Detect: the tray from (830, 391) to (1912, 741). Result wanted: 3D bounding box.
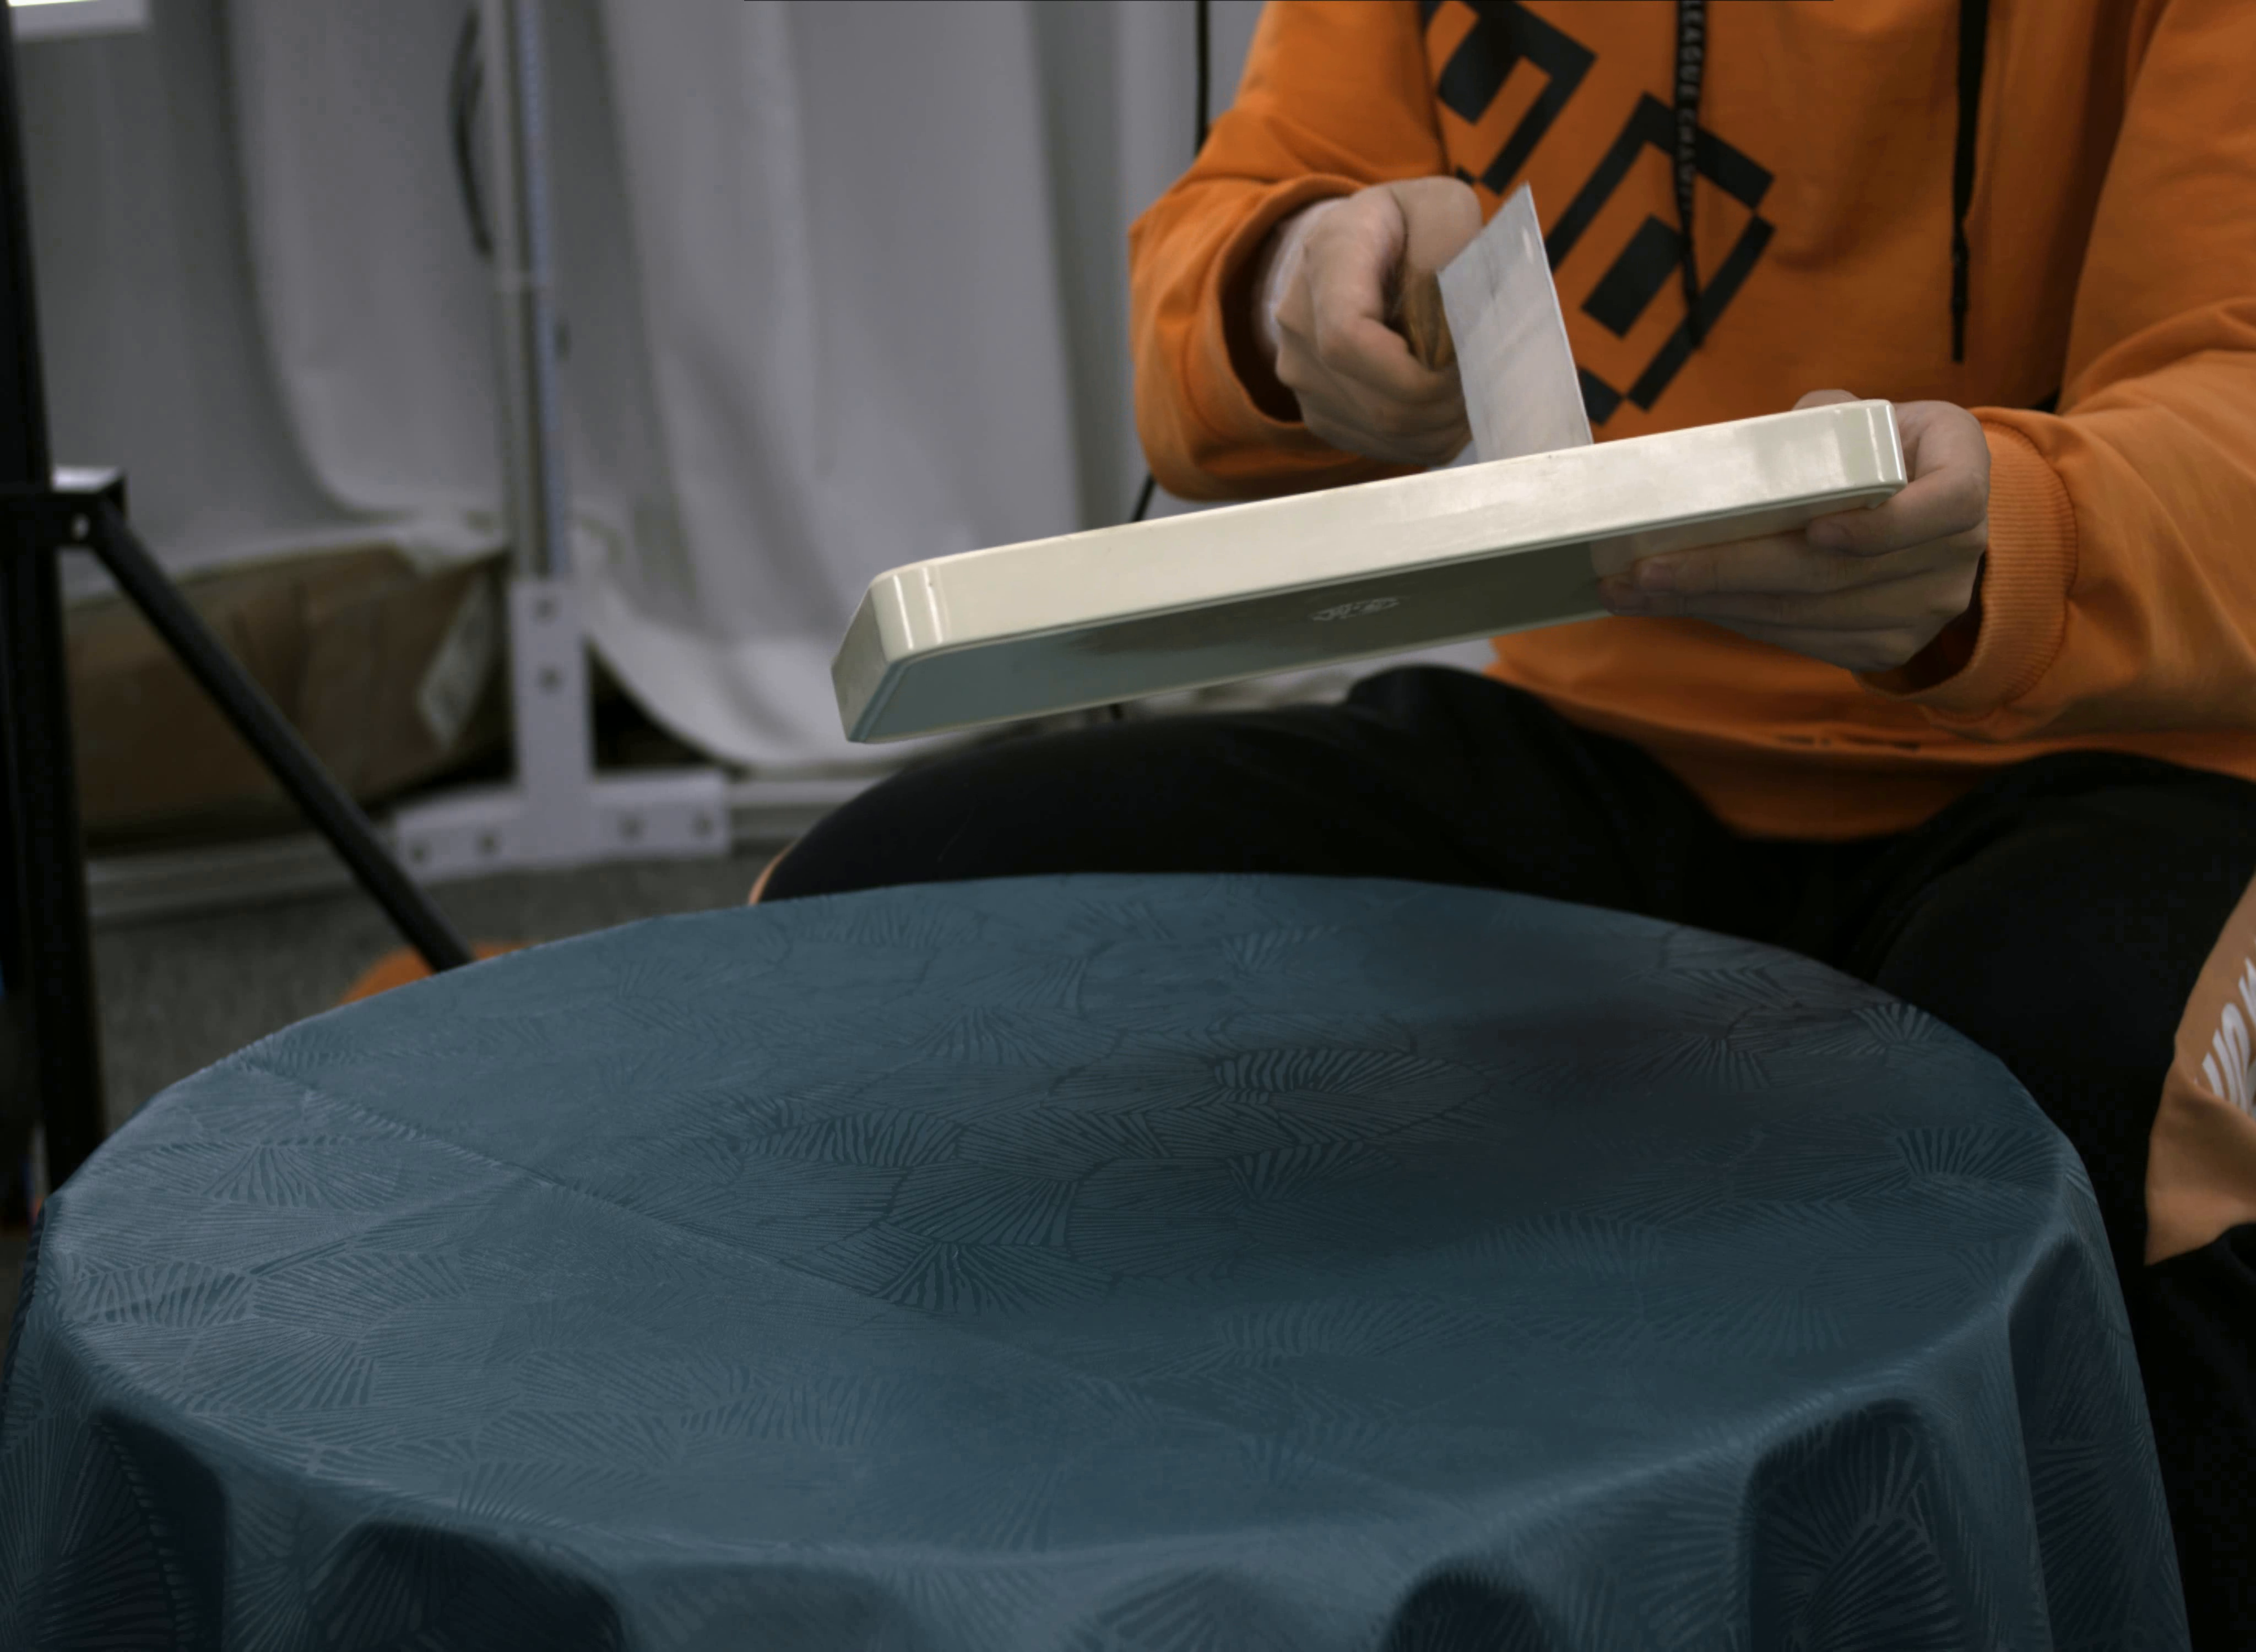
[{"bbox_3d":[0.066,-0.073,1.568,0.297,0.027,0.192,-10,-6,-7],"label":"tray"}]

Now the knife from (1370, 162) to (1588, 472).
[{"bbox_3d":[0.111,-0.135,1.659,0.021,0.093,0.306,-14,-3,-5],"label":"knife"}]
